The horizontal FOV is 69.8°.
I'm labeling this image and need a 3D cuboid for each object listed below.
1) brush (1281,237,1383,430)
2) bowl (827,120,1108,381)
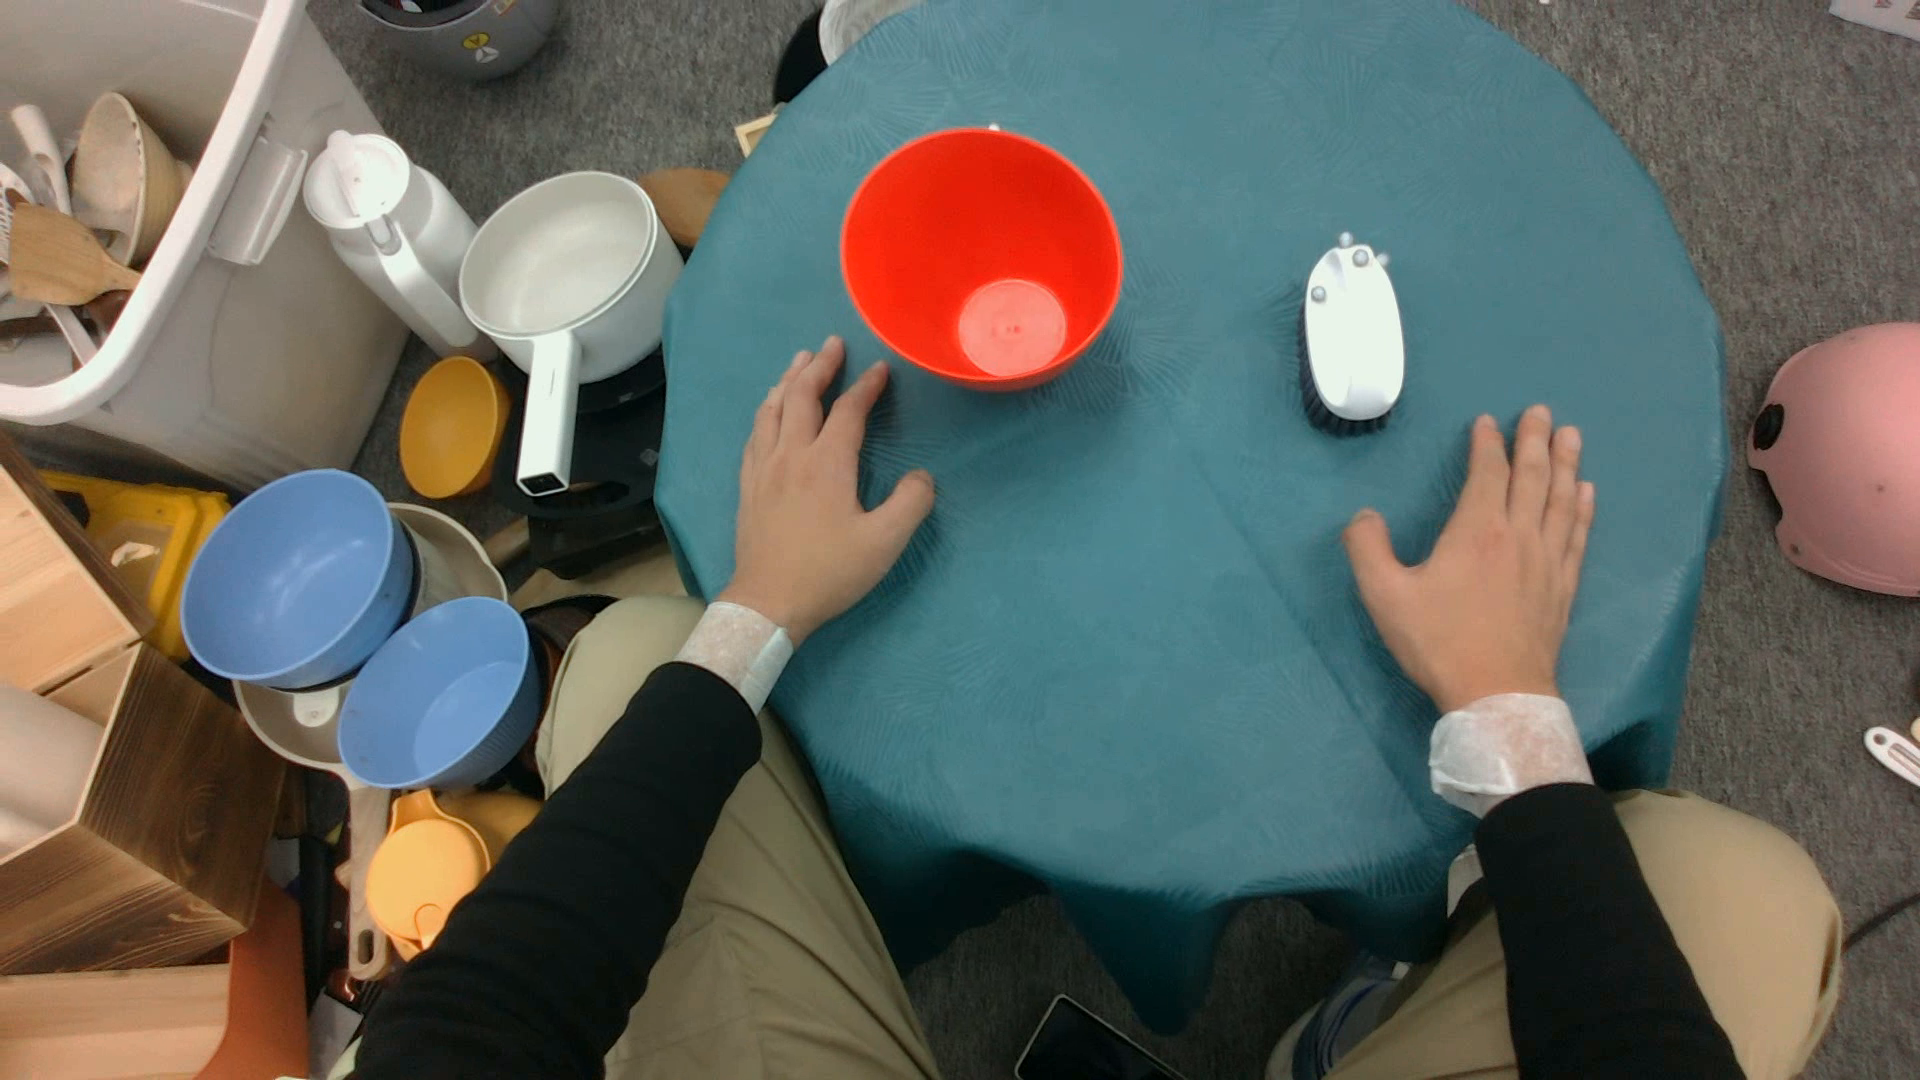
[{"bbox_3d":[0.206,-0.119,0.753,0.050,0.072,0.099,0,71,4],"label":"brush"},{"bbox_3d":[0.008,-0.146,0.766,0.148,0.104,0.148,-1,73,4],"label":"bowl"}]
